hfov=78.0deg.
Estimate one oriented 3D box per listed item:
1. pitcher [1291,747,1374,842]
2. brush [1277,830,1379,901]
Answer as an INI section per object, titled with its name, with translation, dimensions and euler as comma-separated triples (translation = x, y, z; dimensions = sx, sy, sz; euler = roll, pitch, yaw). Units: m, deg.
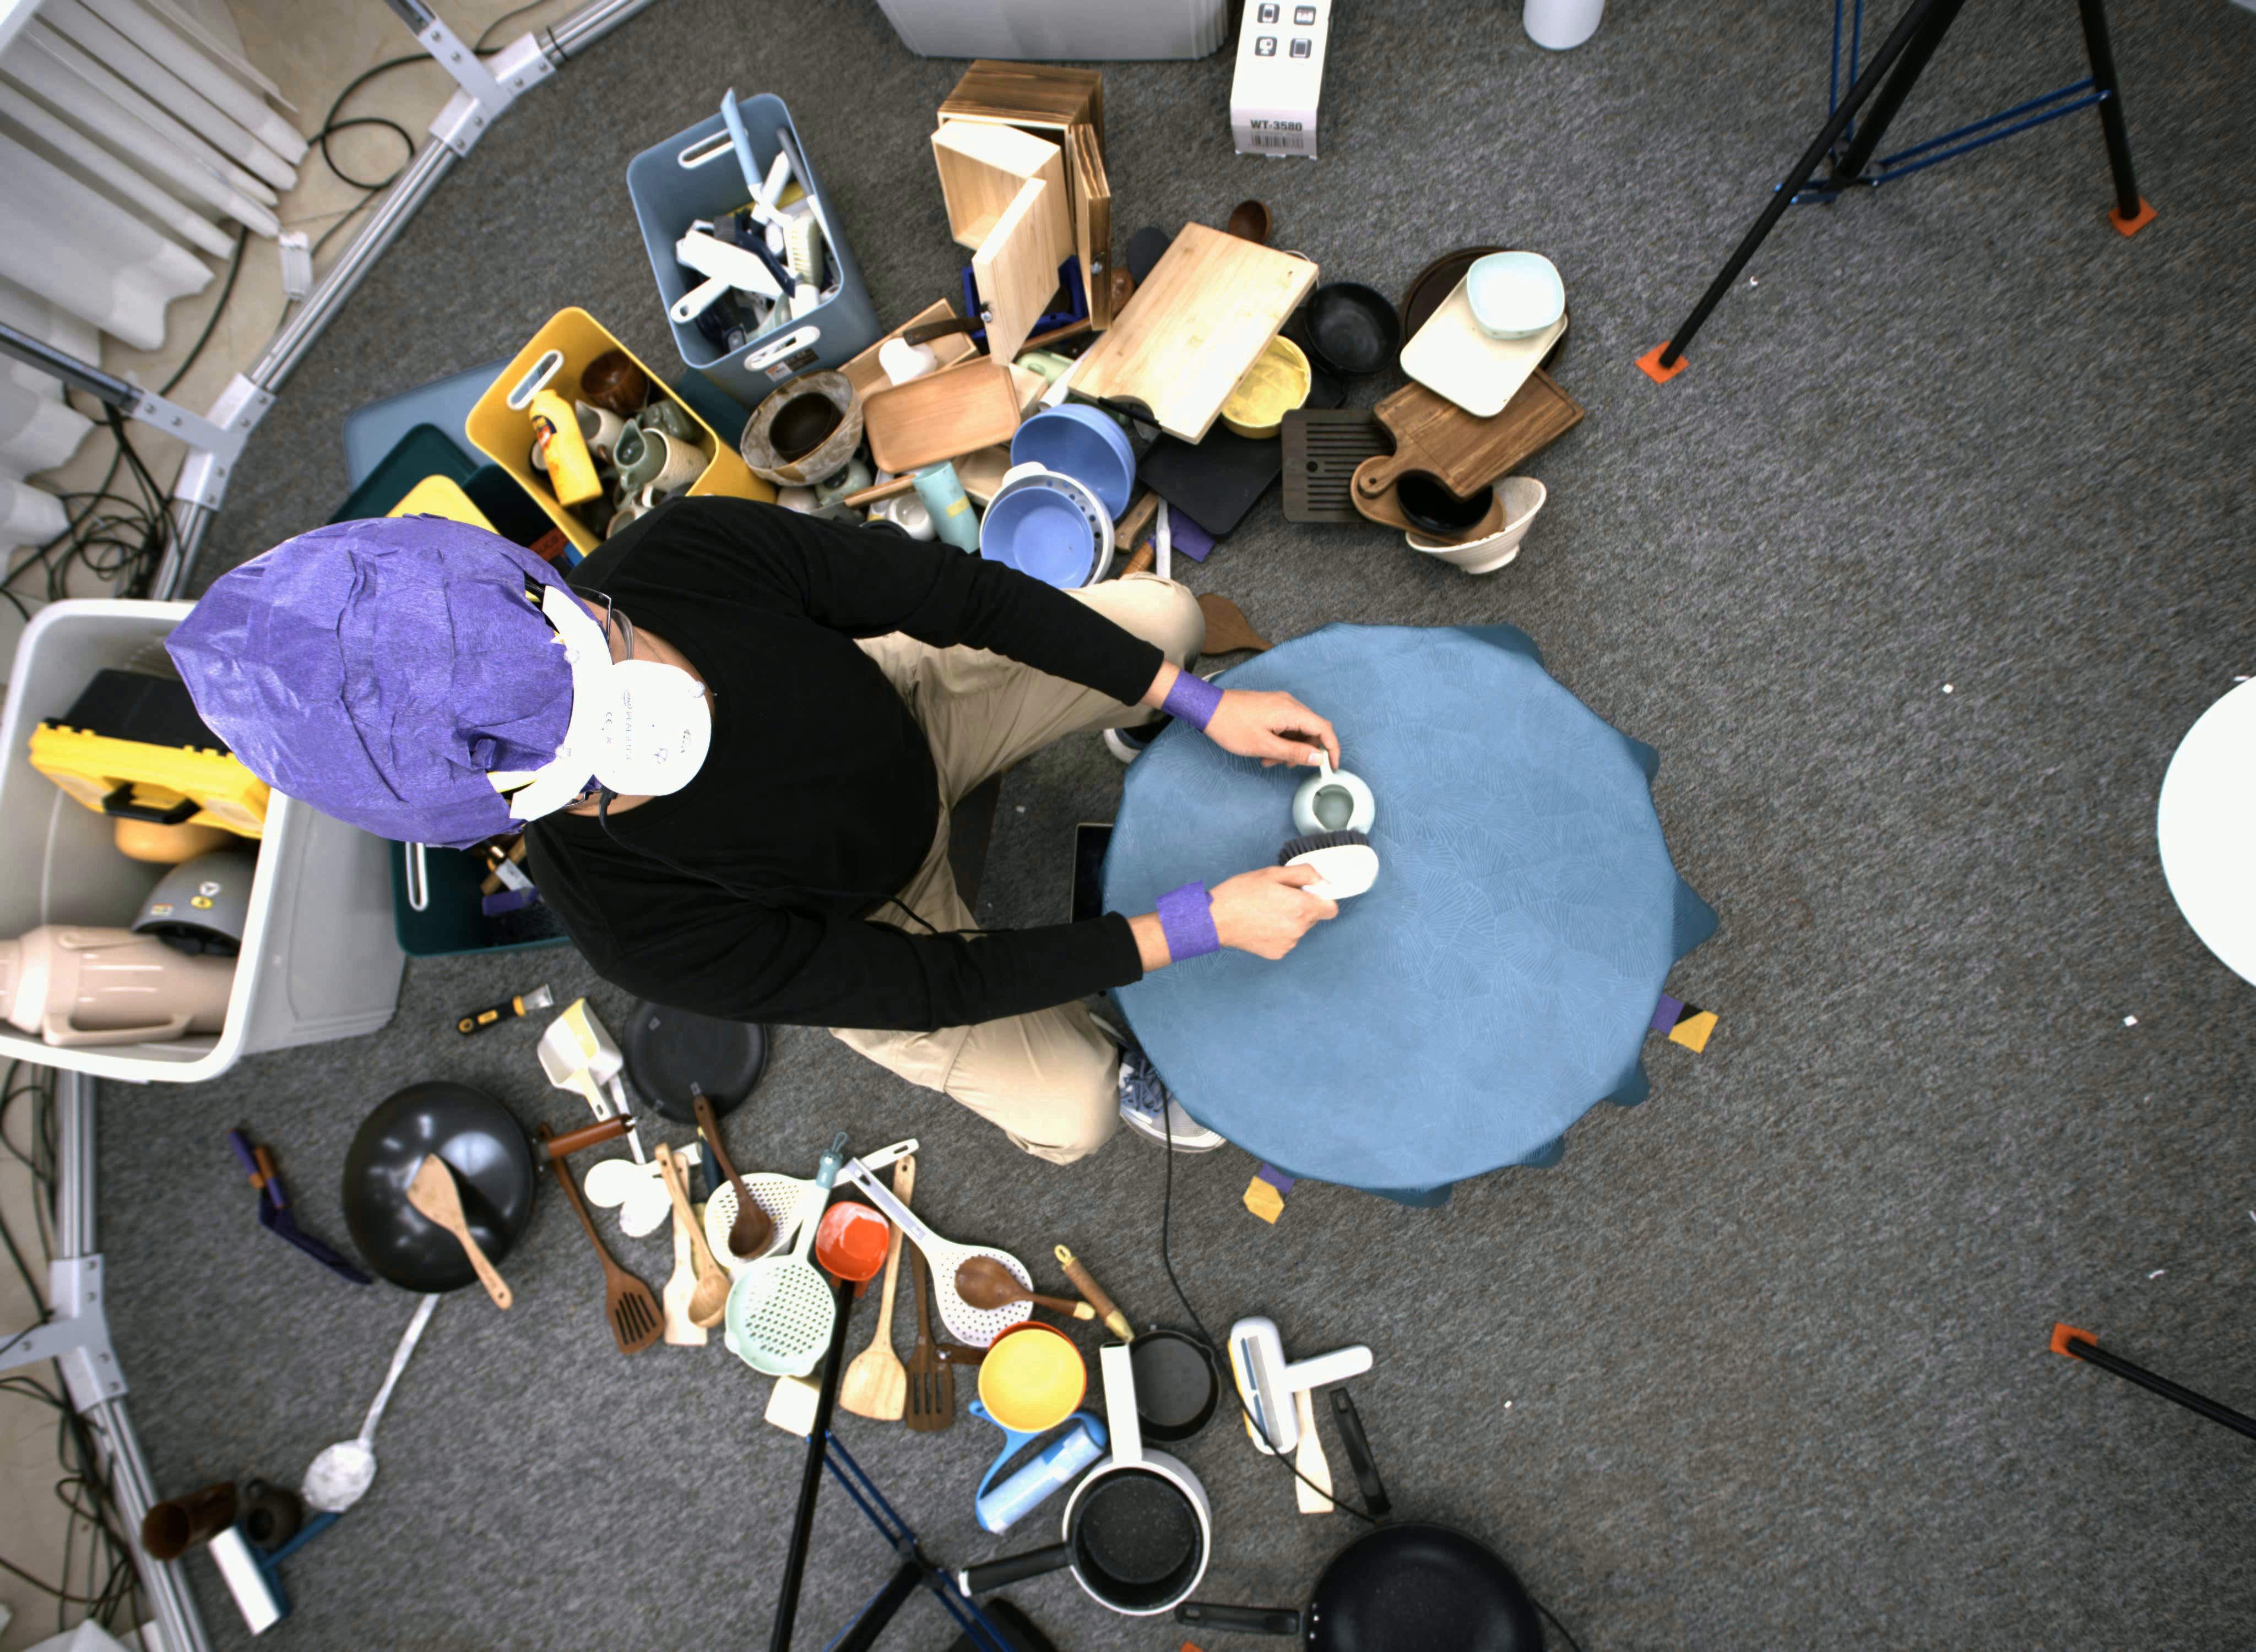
[pitcher]
translation = 0.212, -0.030, 1.448
dimensions = 0.086, 0.060, 0.107
euler = -12, 80, 8
[brush]
translation = 0.207, 0.046, 1.399
dimensions = 0.099, 0.071, 0.051
euler = -9, 127, -4
